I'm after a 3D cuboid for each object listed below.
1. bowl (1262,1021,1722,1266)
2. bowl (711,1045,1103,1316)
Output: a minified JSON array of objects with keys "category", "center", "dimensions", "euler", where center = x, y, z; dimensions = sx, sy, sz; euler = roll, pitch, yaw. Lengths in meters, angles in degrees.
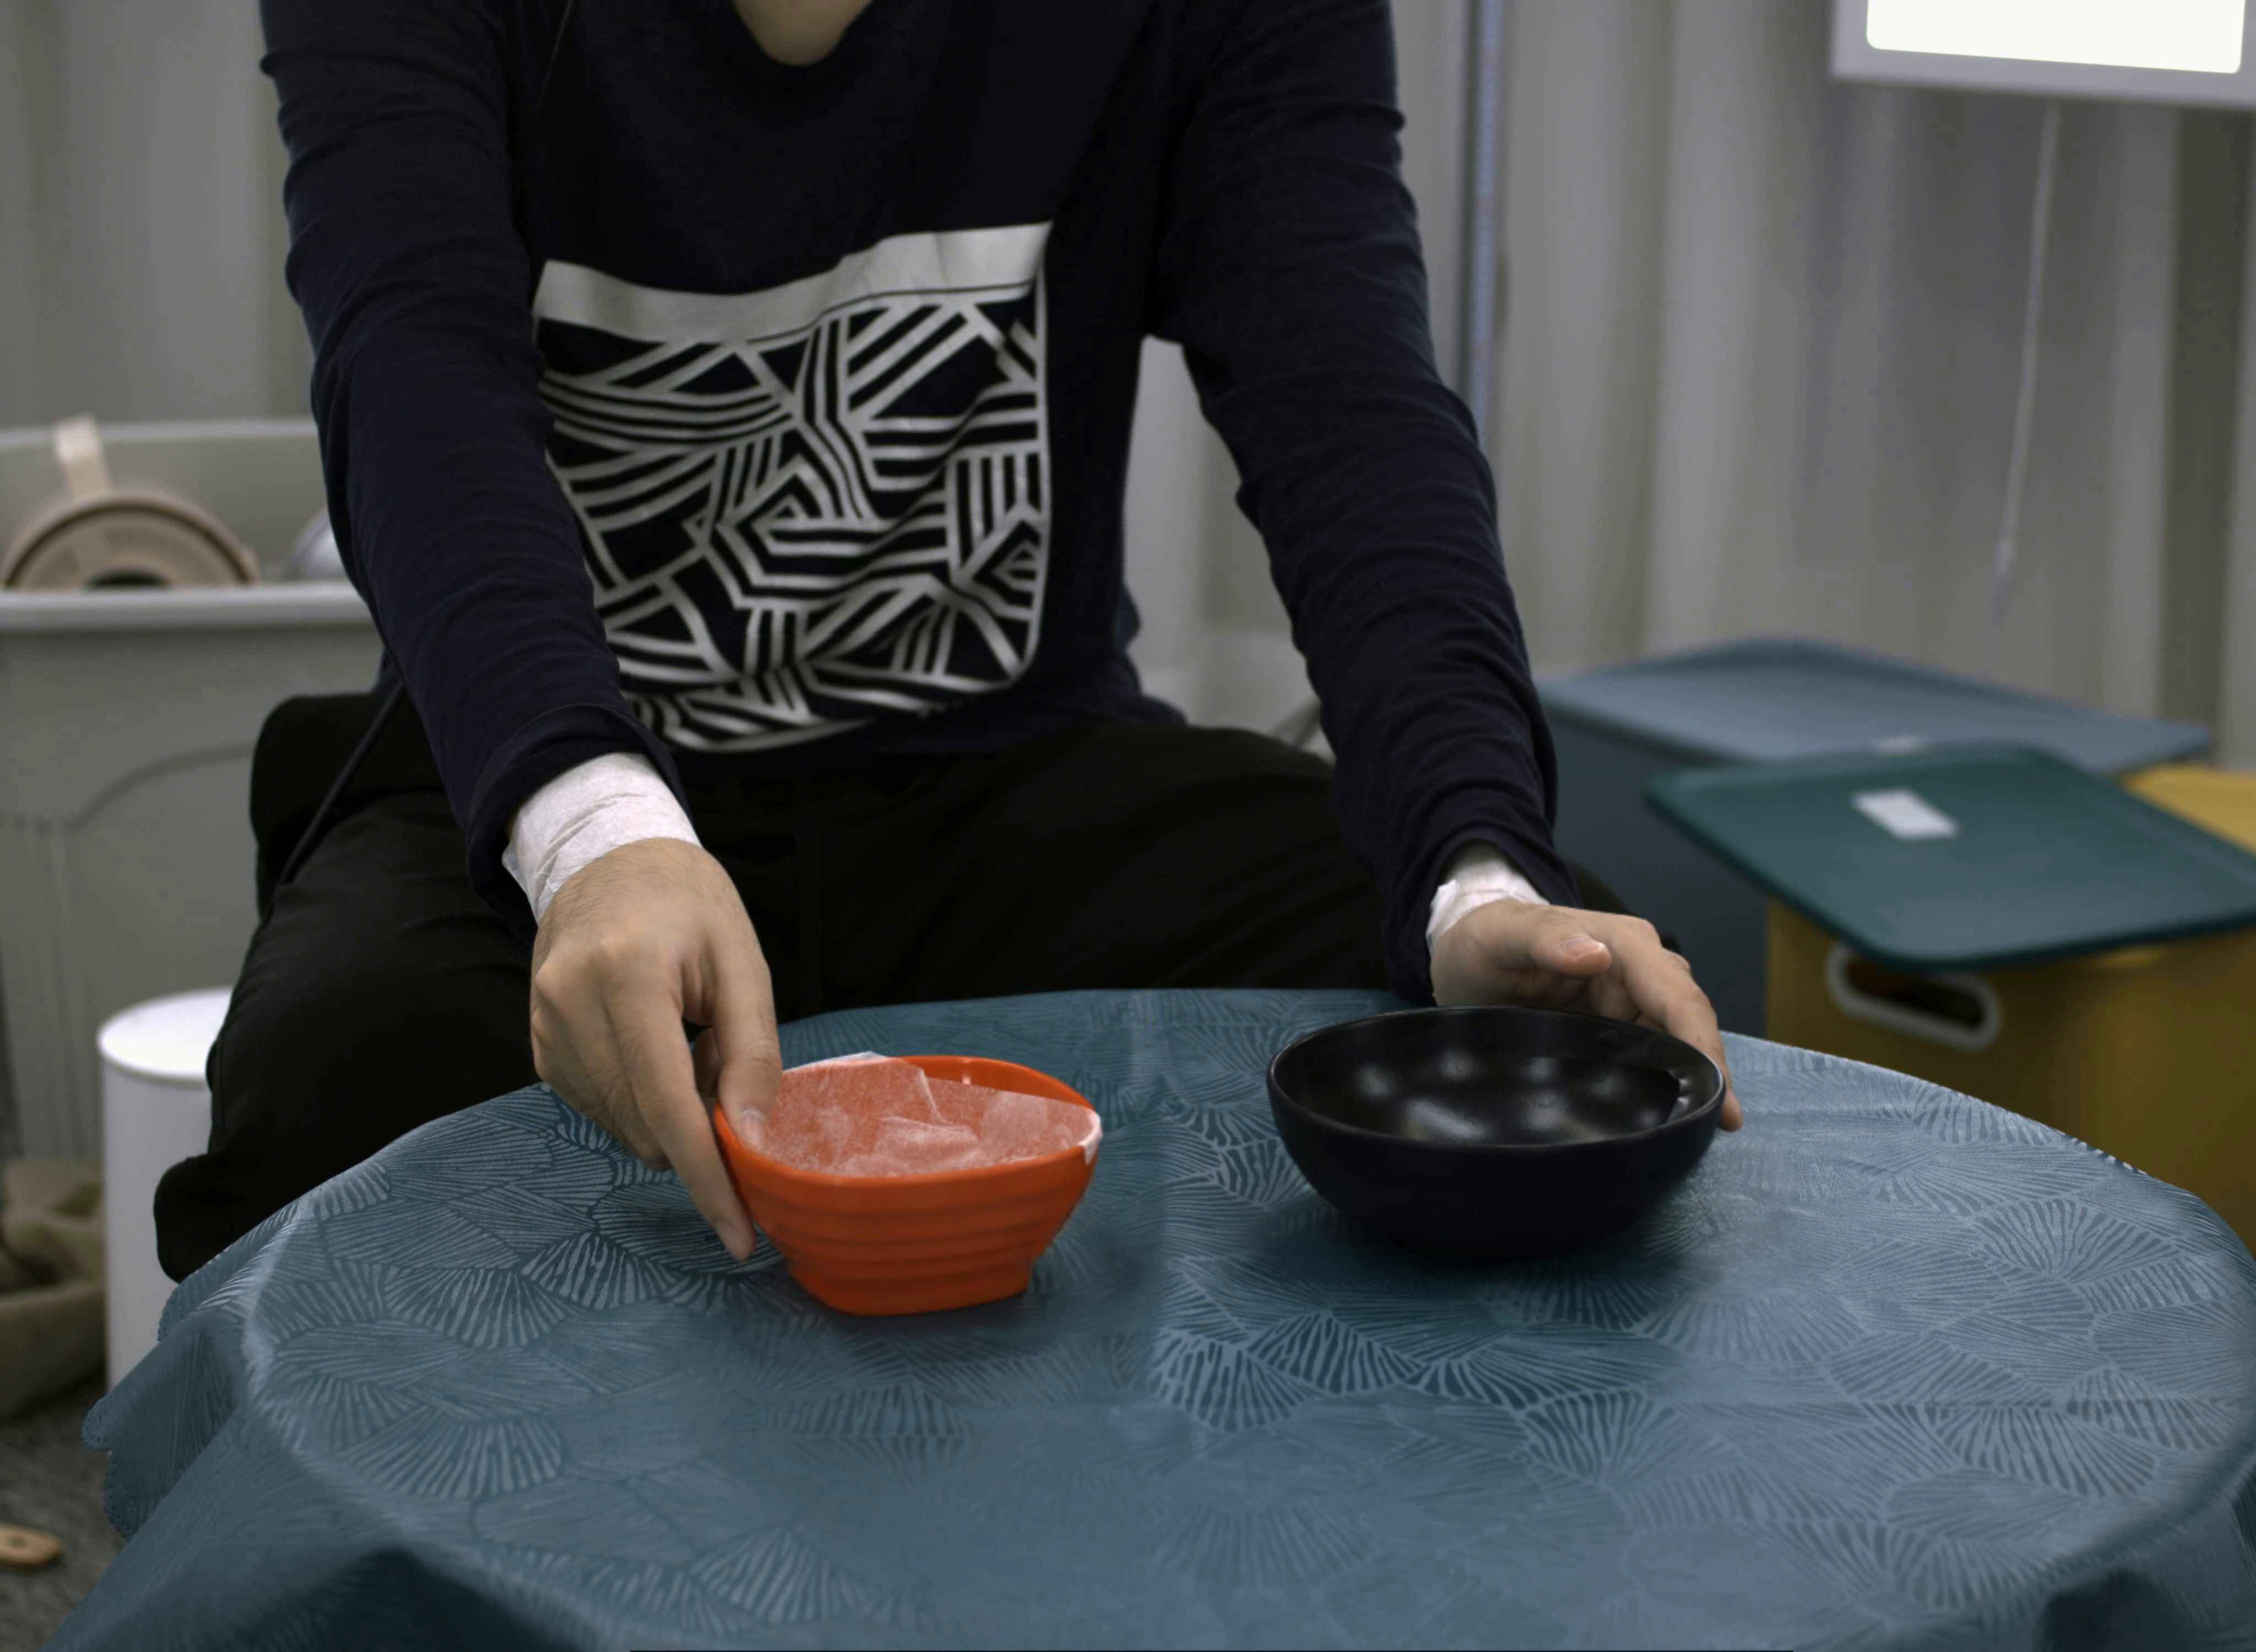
[{"category":"bowl","center":[0.110,0.099,1.592],"dimensions":[0.139,0.050,0.139],"euler":[-1,12,1]},{"category":"bowl","center":[-0.065,0.106,1.545],"dimensions":[0.118,0.052,0.118],"euler":[0,18,0]}]
